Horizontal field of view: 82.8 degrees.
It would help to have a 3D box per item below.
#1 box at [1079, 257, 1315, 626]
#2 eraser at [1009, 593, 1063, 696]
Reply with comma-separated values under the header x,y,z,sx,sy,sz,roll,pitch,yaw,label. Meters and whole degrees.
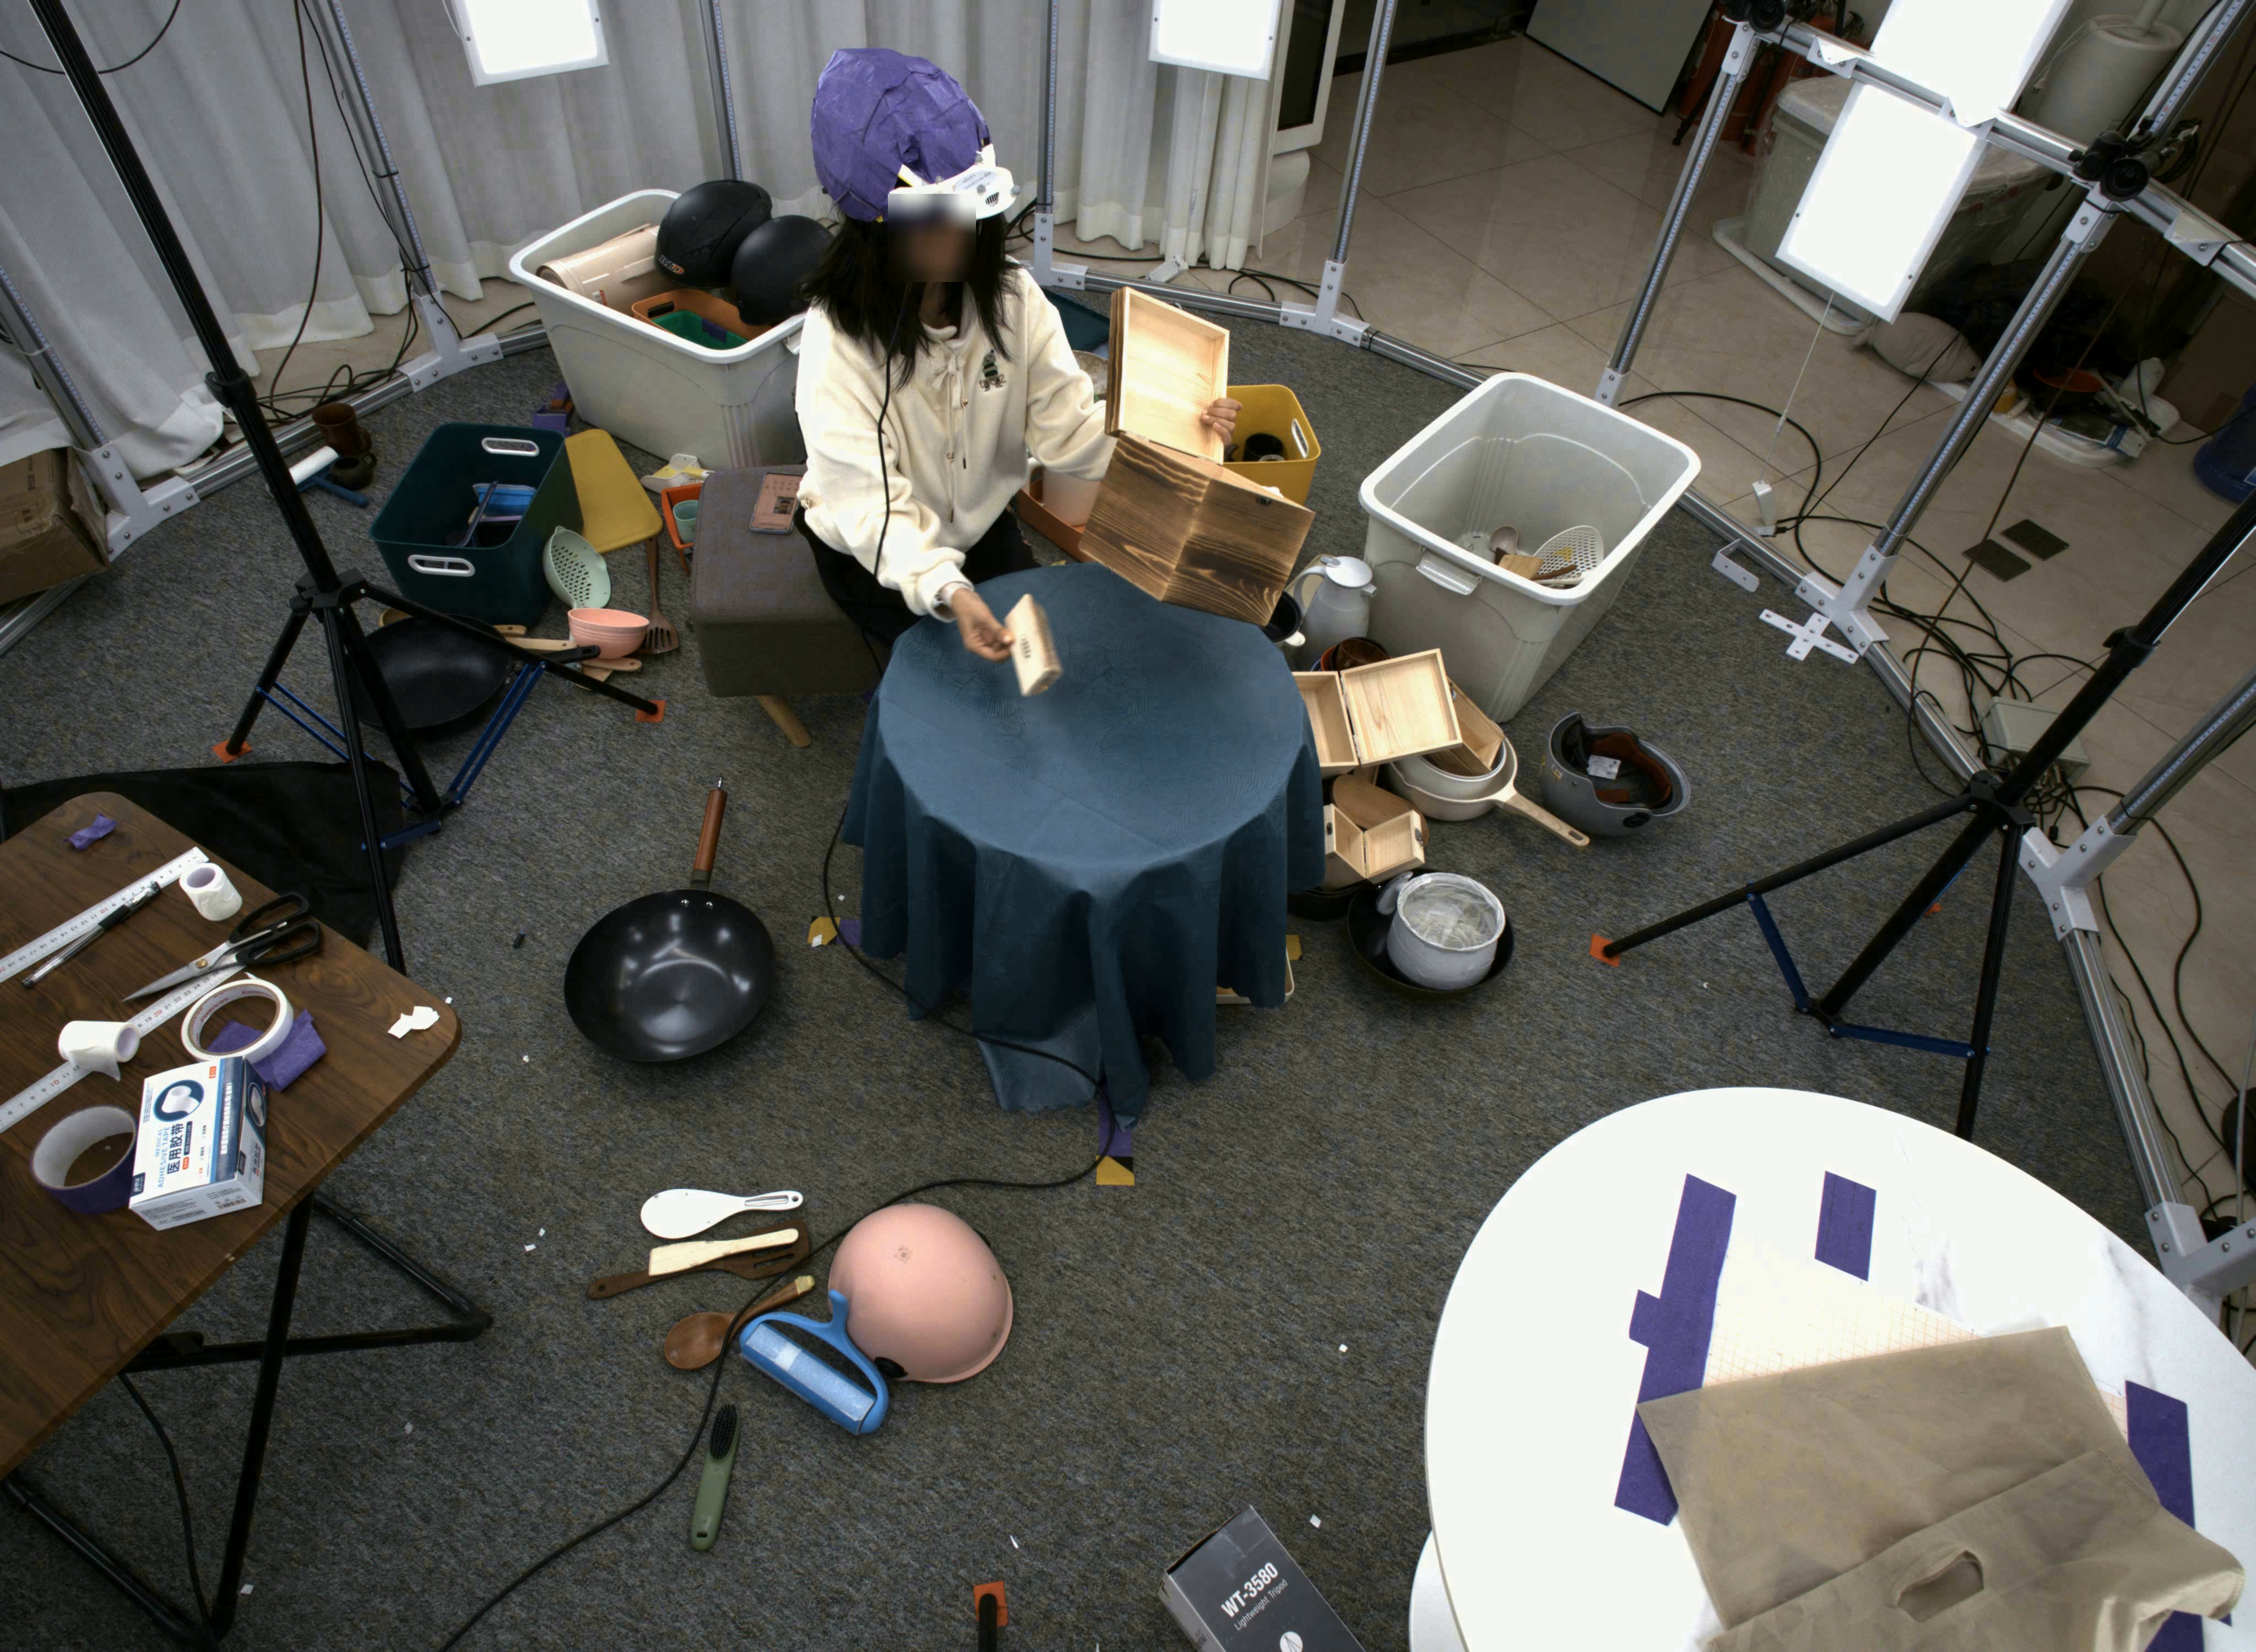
x,y,z,sx,sy,sz,roll,pitch,yaw,label
0.095,-0.511,1.757,0.207,0.370,0.328,5,26,-41,box
-0.126,-0.245,1.748,0.028,0.056,0.142,14,47,-36,eraser
